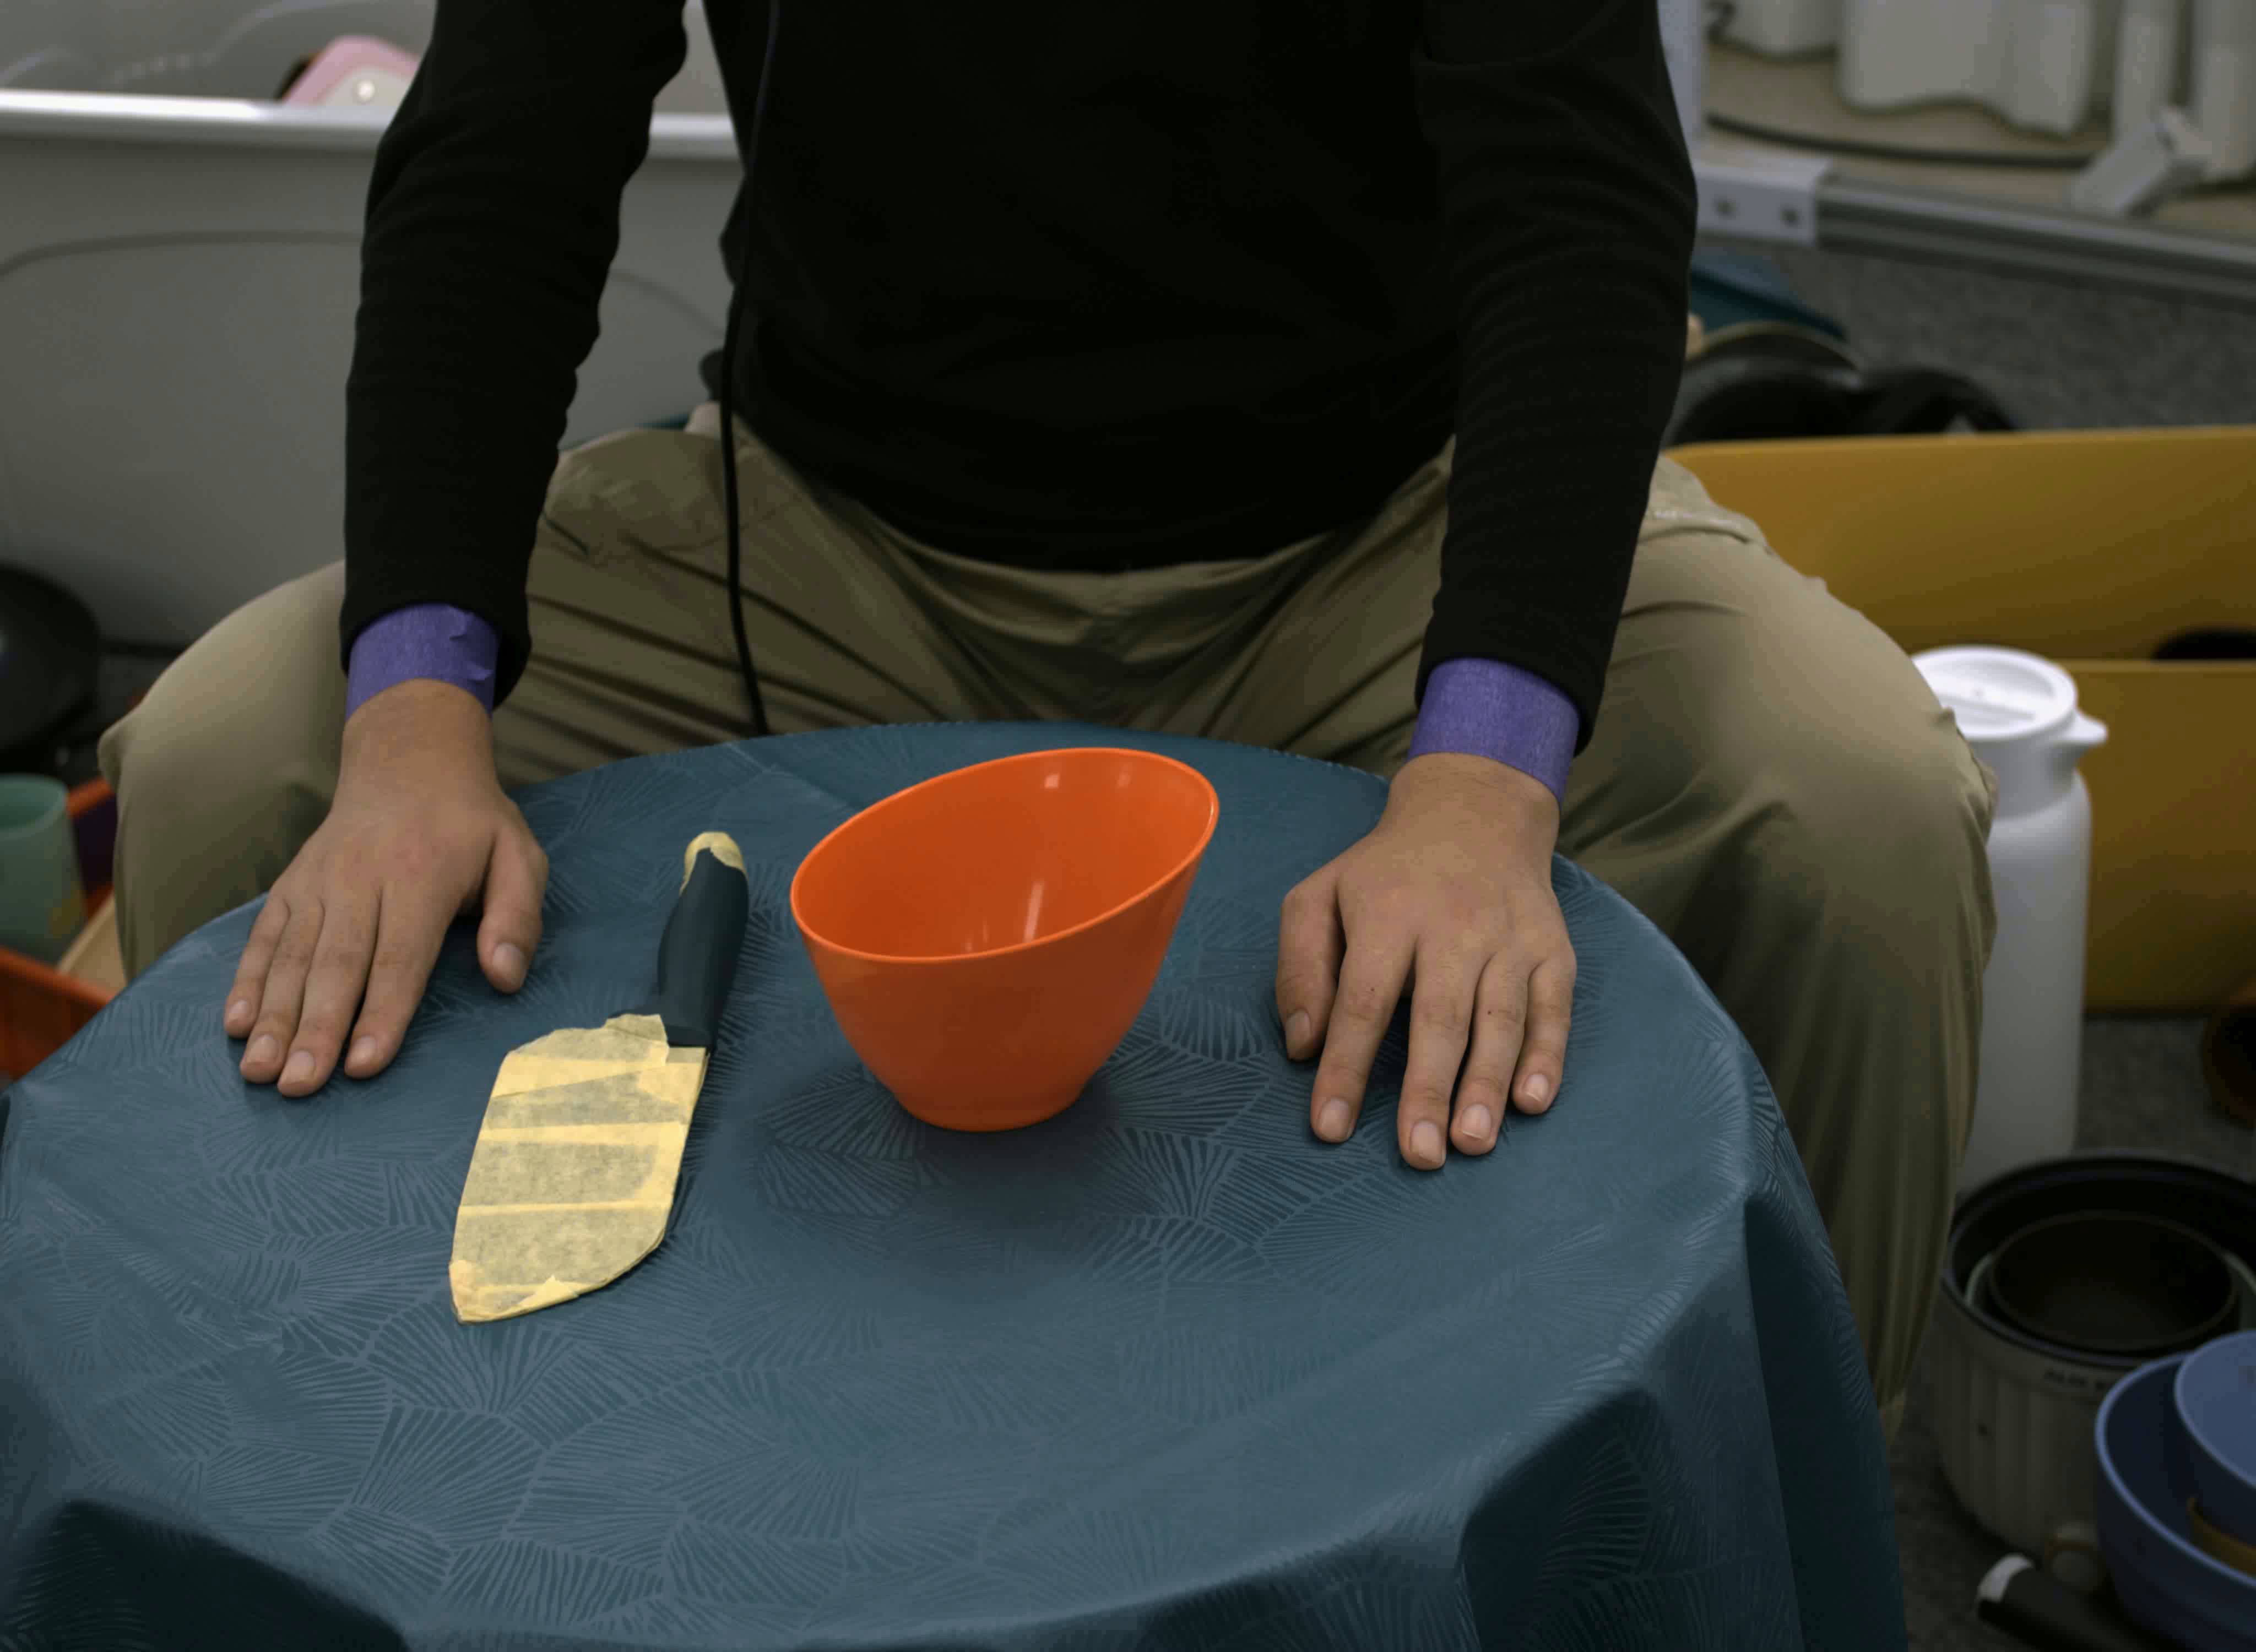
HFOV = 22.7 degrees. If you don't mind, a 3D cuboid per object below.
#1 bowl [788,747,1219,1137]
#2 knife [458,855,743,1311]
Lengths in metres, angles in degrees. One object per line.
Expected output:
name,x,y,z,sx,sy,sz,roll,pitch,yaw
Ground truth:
bowl,-0.040,0.045,1.901,0.147,0.103,0.150,-3,28,2
knife,-0.178,0.087,1.929,0.080,0.027,0.294,2,29,7
